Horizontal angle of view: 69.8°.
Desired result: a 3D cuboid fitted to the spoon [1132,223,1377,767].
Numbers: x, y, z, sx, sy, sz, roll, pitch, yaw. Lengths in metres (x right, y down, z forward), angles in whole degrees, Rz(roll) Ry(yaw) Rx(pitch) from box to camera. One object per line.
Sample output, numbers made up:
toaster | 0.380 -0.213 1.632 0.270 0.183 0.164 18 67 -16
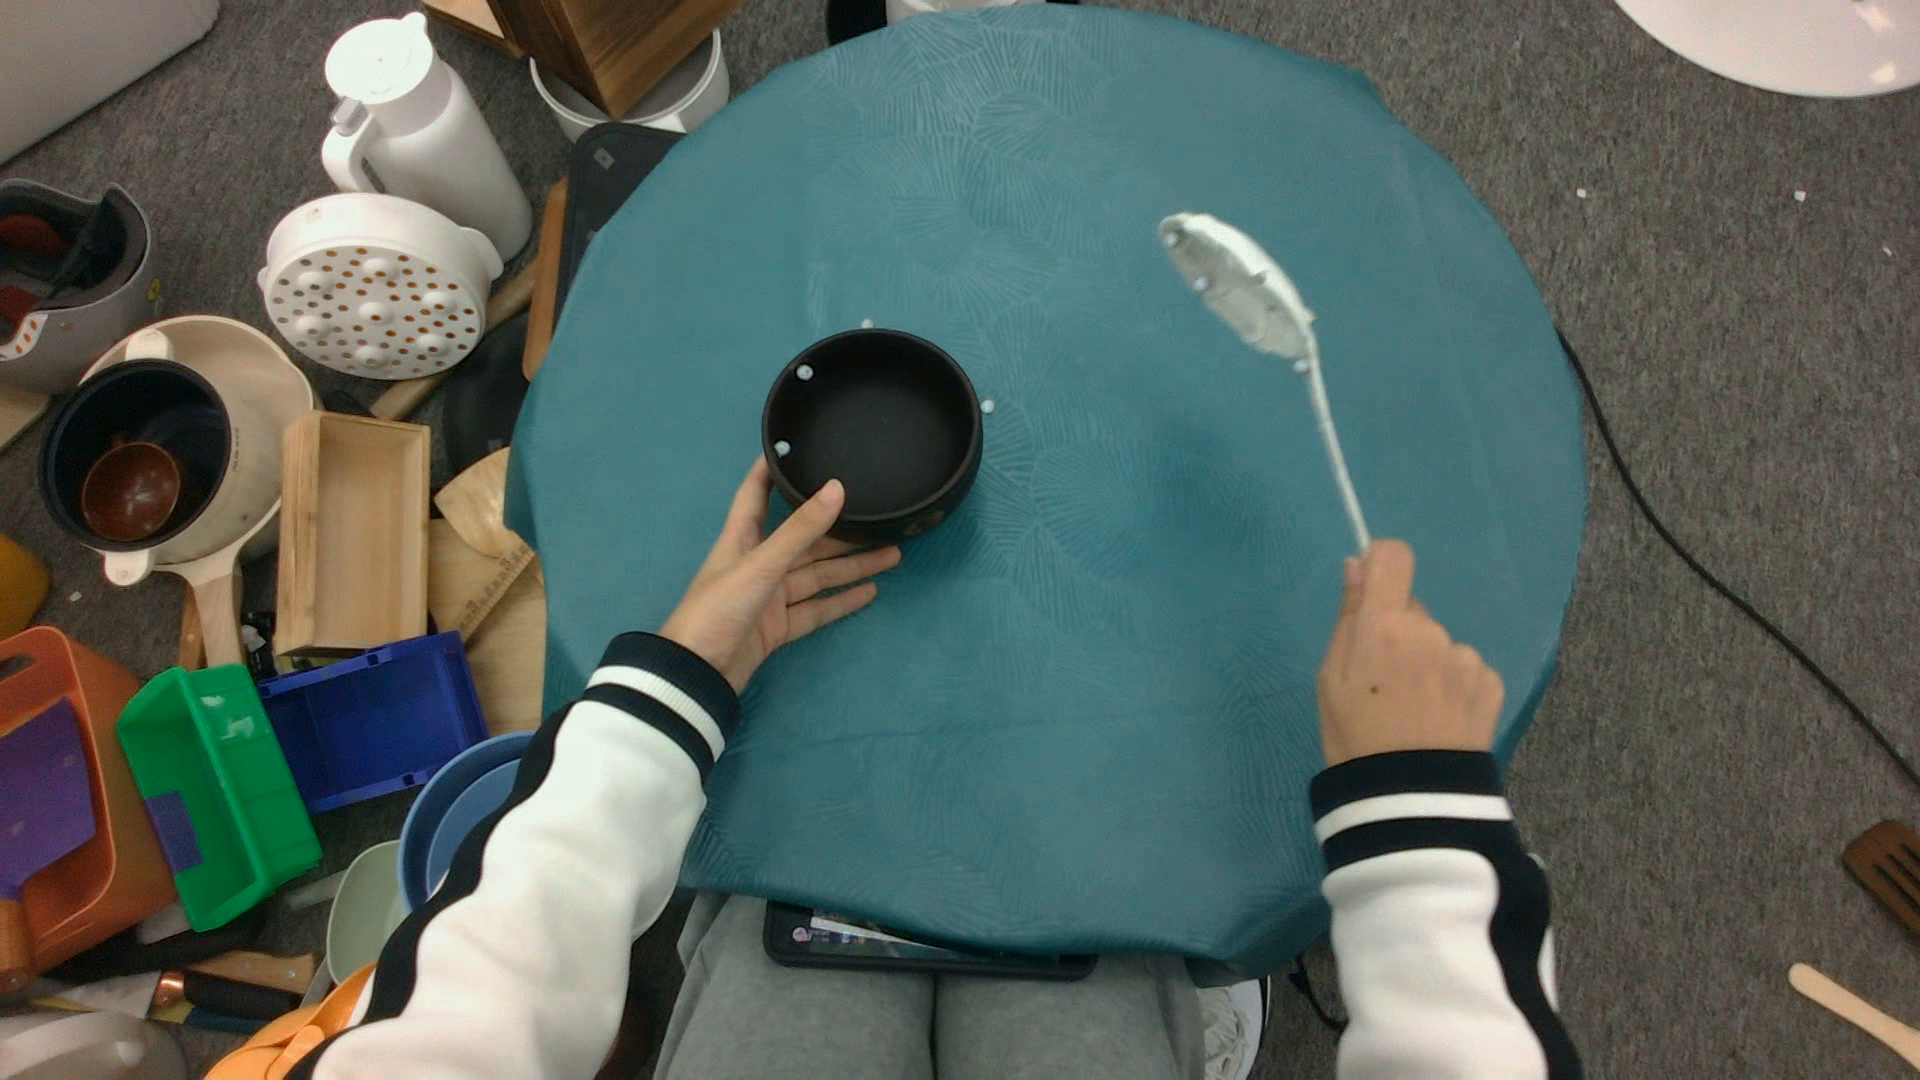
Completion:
spoon | 0.140 -0.024 0.666 0.059 0.100 0.278 -11 80 0

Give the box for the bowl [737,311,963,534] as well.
bowl | -0.057 -0.057 0.743 0.118 0.069 0.118 0 69 0
